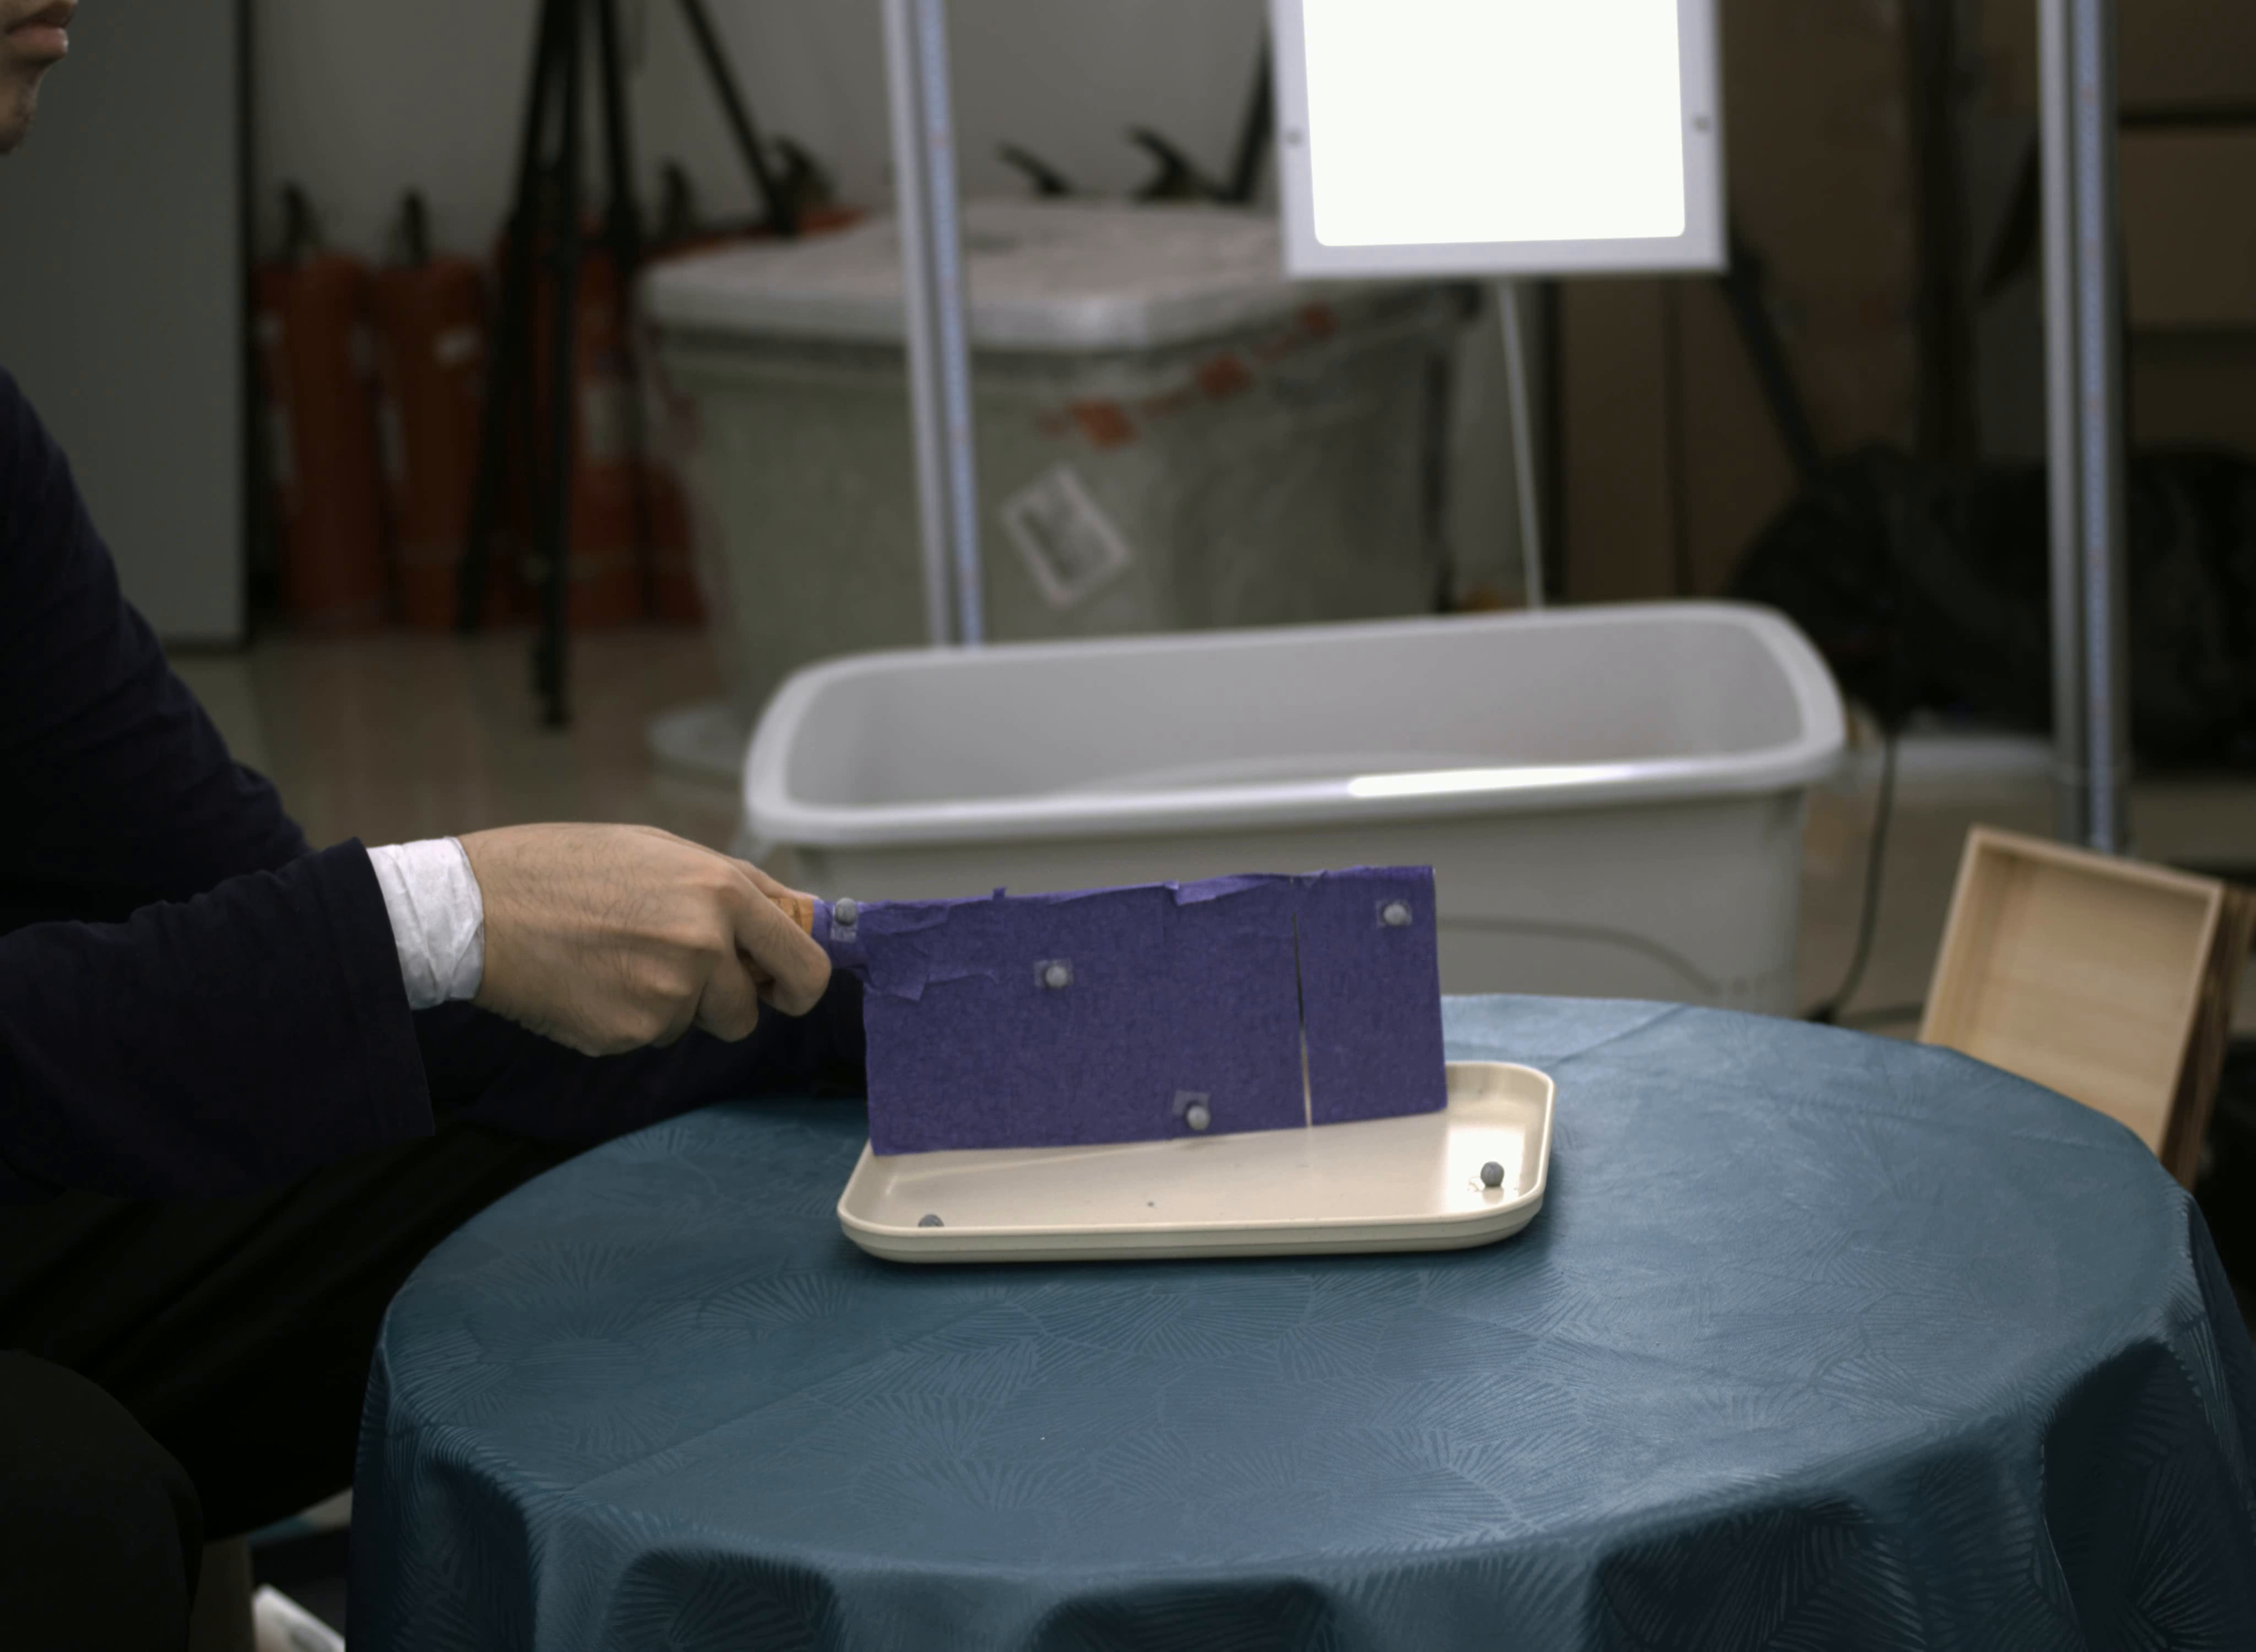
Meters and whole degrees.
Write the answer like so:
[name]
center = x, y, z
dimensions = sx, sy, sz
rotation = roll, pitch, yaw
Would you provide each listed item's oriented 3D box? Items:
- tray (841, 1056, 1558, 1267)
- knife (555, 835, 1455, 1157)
[tray]
center = 0.028, 0.116, 1.891
dimensions = 0.241, 0.017, 0.170
rotation = -2, 16, 9
[knife]
center = -0.039, 0.066, 1.912
dimensions = 0.313, 0.104, 0.032
rotation = -4, 7, -6
